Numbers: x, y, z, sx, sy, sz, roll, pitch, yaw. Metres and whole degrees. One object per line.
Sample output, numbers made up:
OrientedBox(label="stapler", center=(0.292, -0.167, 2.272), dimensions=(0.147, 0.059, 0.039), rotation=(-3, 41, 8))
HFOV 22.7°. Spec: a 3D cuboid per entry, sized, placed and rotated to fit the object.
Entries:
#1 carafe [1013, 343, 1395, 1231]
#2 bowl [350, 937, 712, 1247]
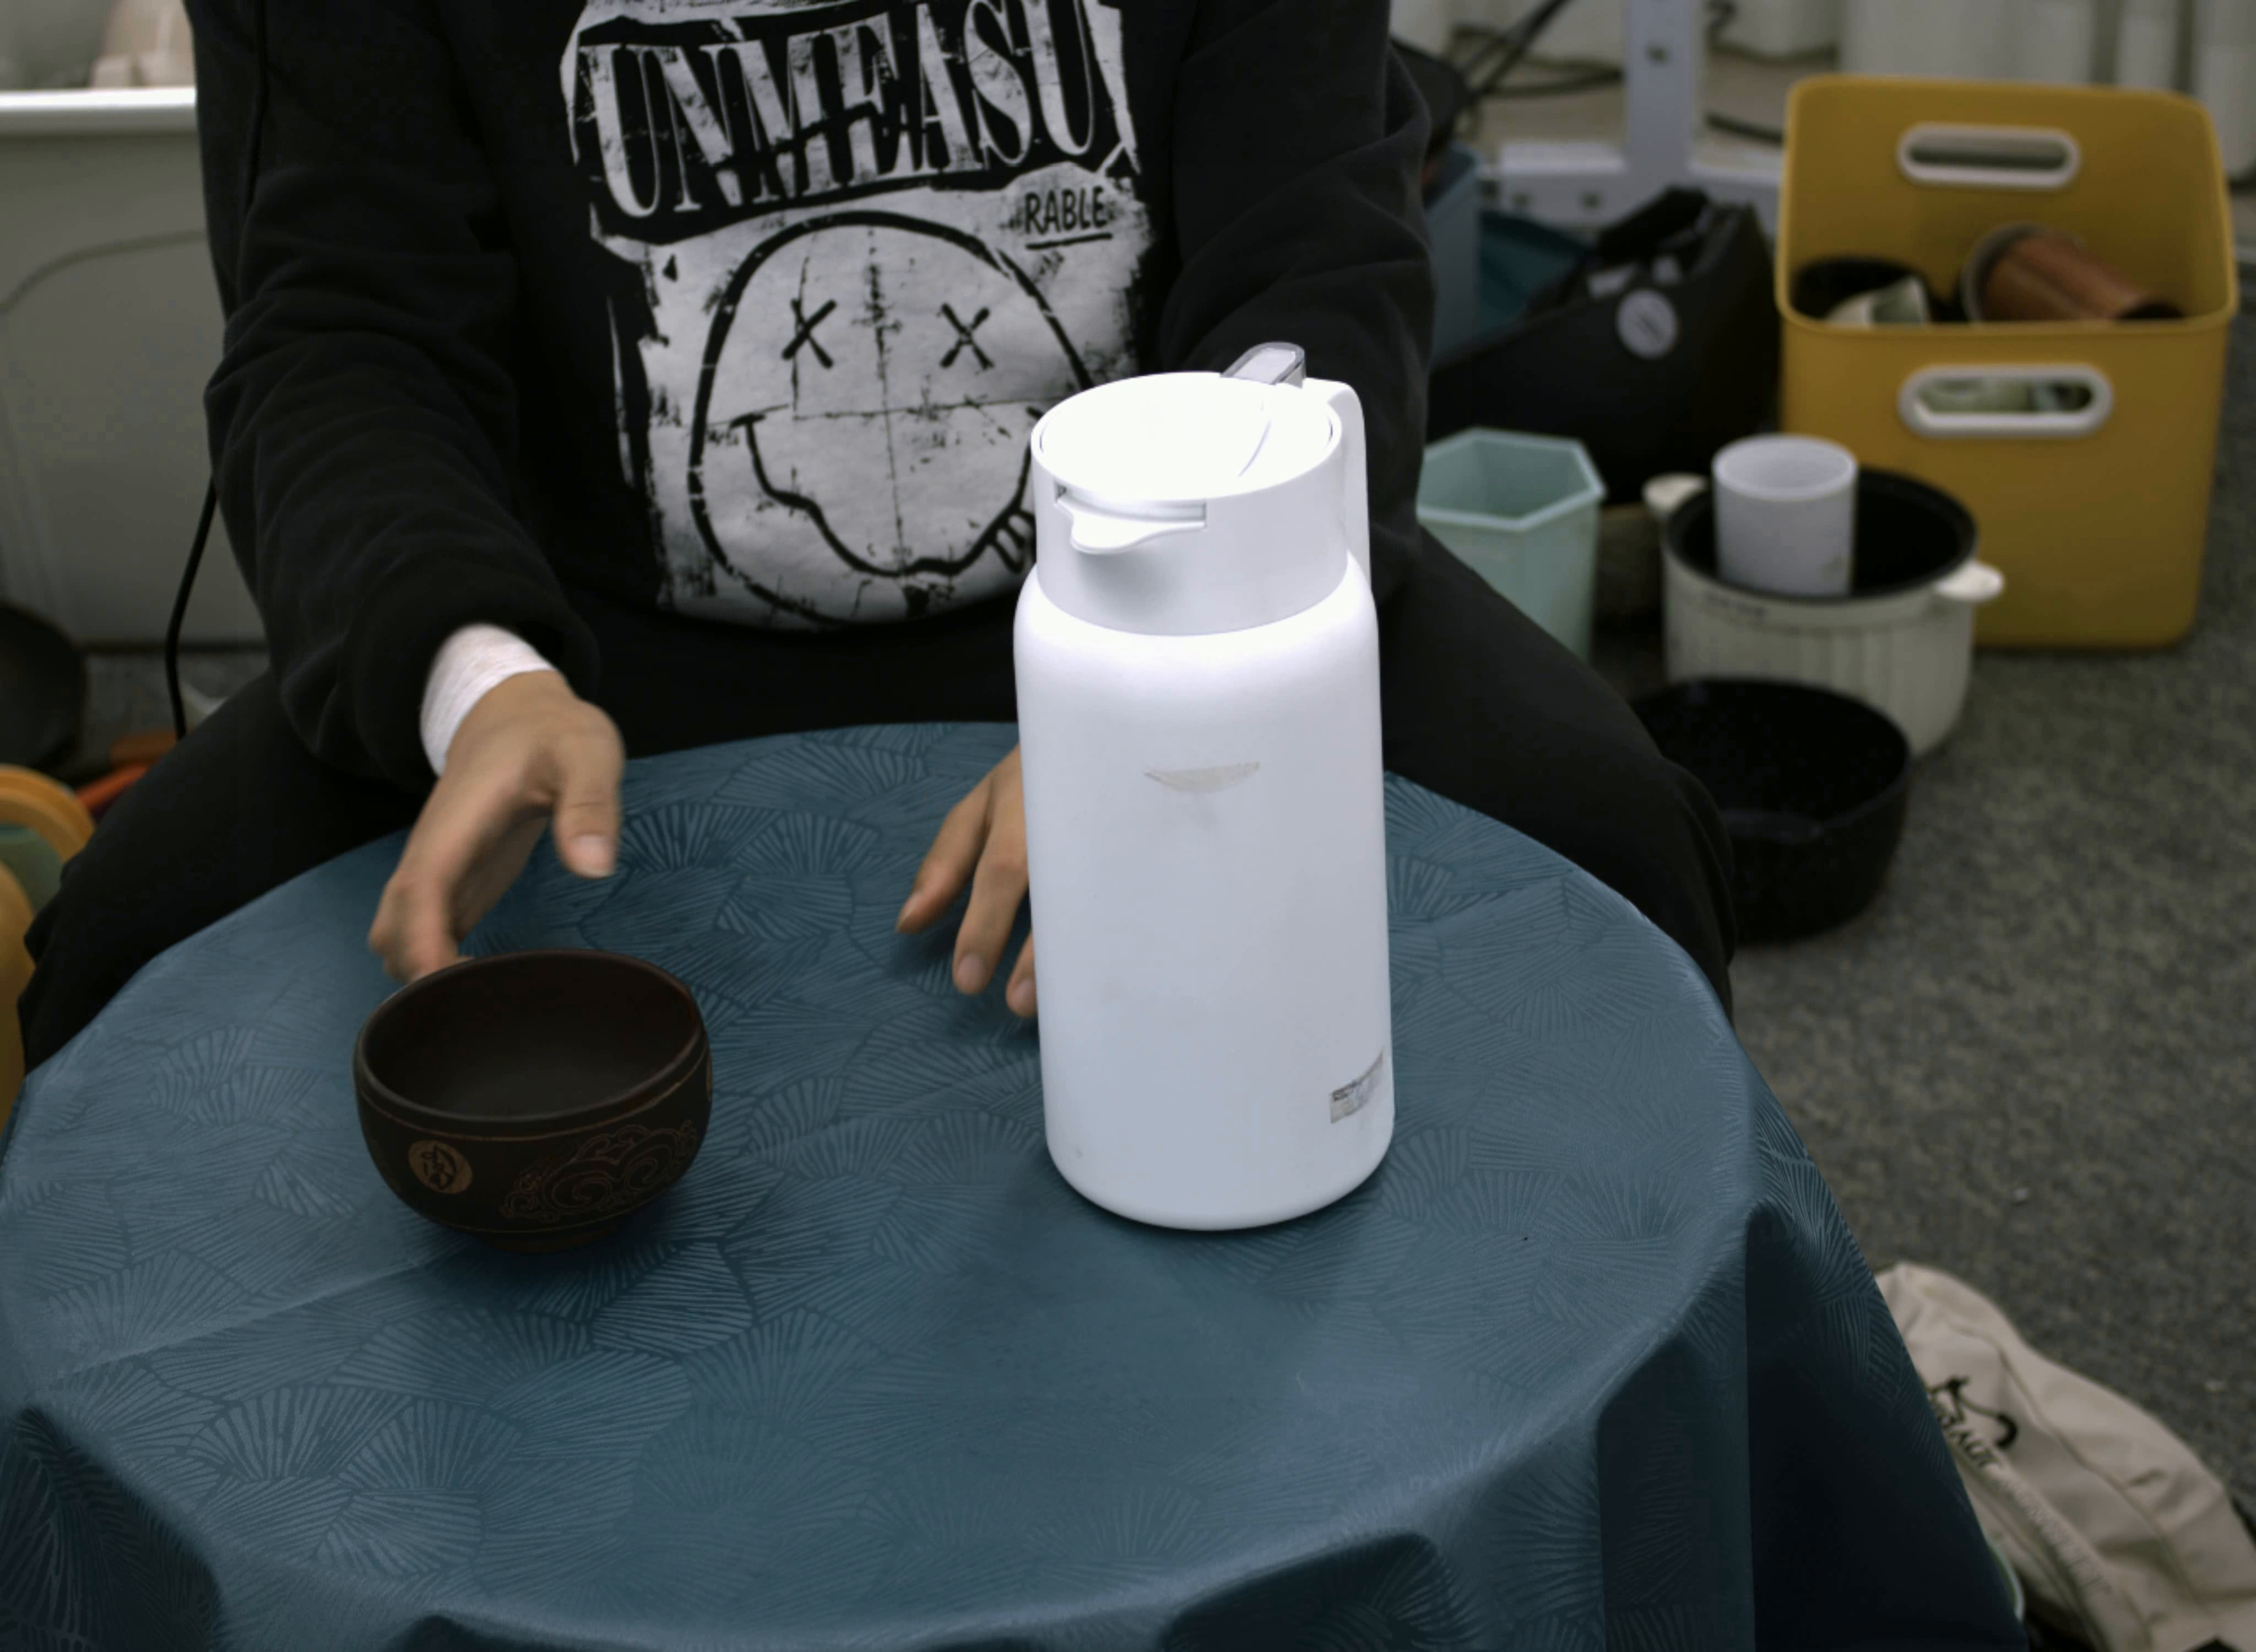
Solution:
OrientedBox(label="carafe", center=(0.031, -0.017, 1.837), dimensions=(0.123, 0.266, 0.176), rotation=(7, 28, 24))
OrientedBox(label="bowl", center=(-0.195, 0.095, 1.850), dimensions=(0.117, 0.069, 0.120), rotation=(-2, 28, 2))
